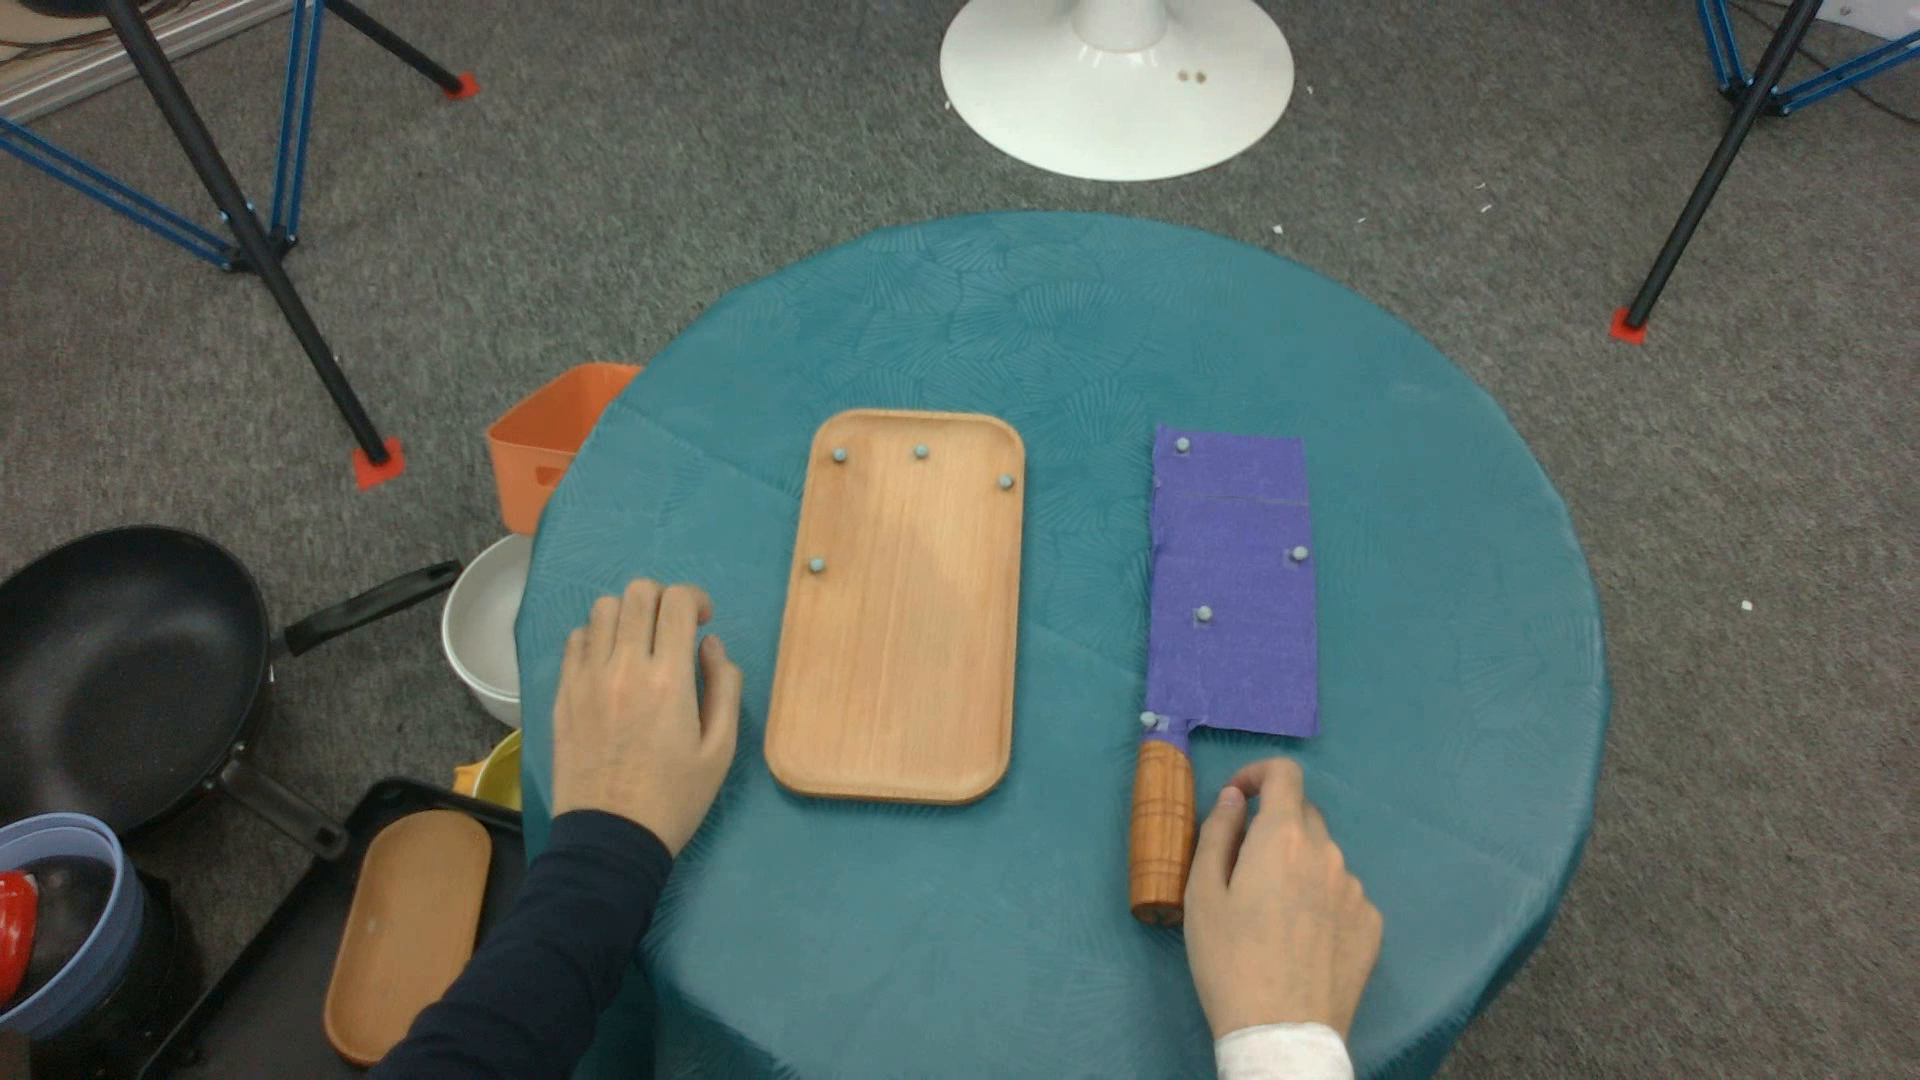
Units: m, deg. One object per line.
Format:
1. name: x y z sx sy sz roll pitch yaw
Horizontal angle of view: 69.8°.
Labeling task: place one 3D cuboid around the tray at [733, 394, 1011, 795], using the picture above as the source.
1. tray: -0.042 0.022 0.759 0.130 0.023 0.252 4 56 4

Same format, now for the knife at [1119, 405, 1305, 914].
1. knife: 0.135 0.047 0.739 0.104 0.032 0.317 5 55 2
